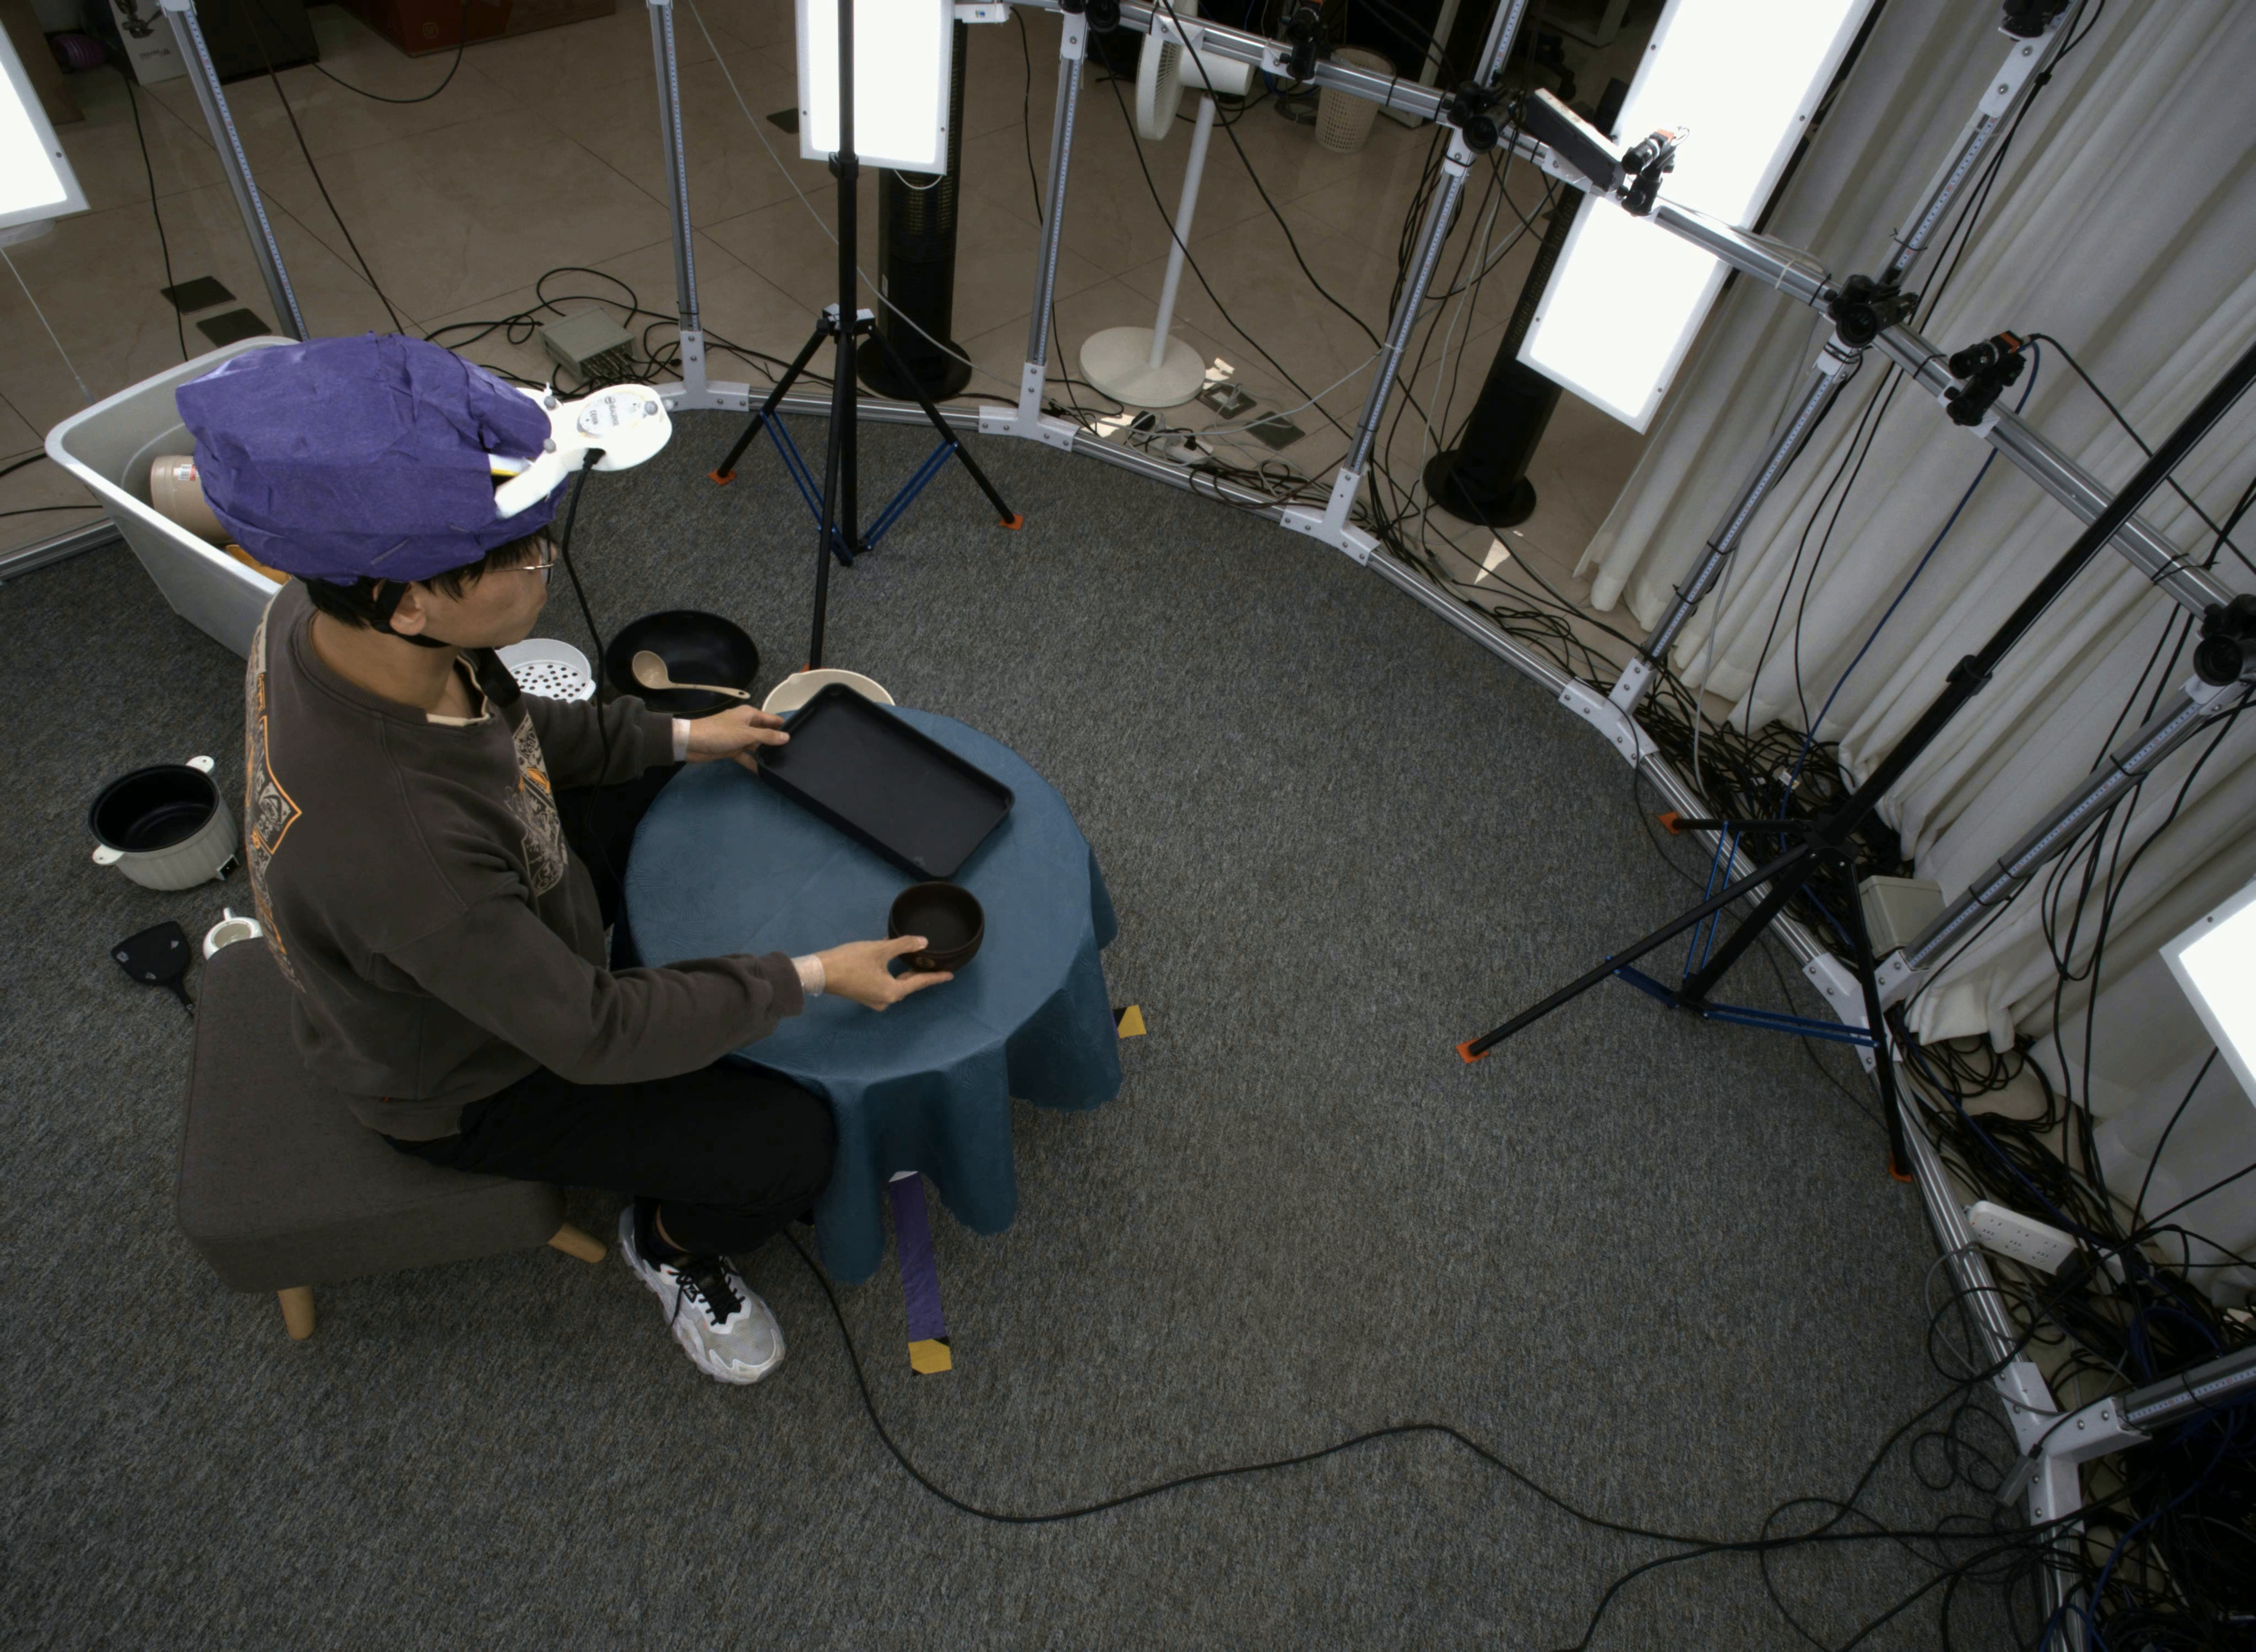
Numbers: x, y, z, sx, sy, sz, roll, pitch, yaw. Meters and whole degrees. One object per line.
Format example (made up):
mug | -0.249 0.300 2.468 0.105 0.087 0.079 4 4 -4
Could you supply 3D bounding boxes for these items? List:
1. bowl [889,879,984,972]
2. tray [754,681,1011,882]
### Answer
bowl | -0.238 0.131 1.619 0.117 0.071 0.116 7 48 -6
tray | -0.333 -0.061 1.769 0.314 0.037 0.183 31 55 4
